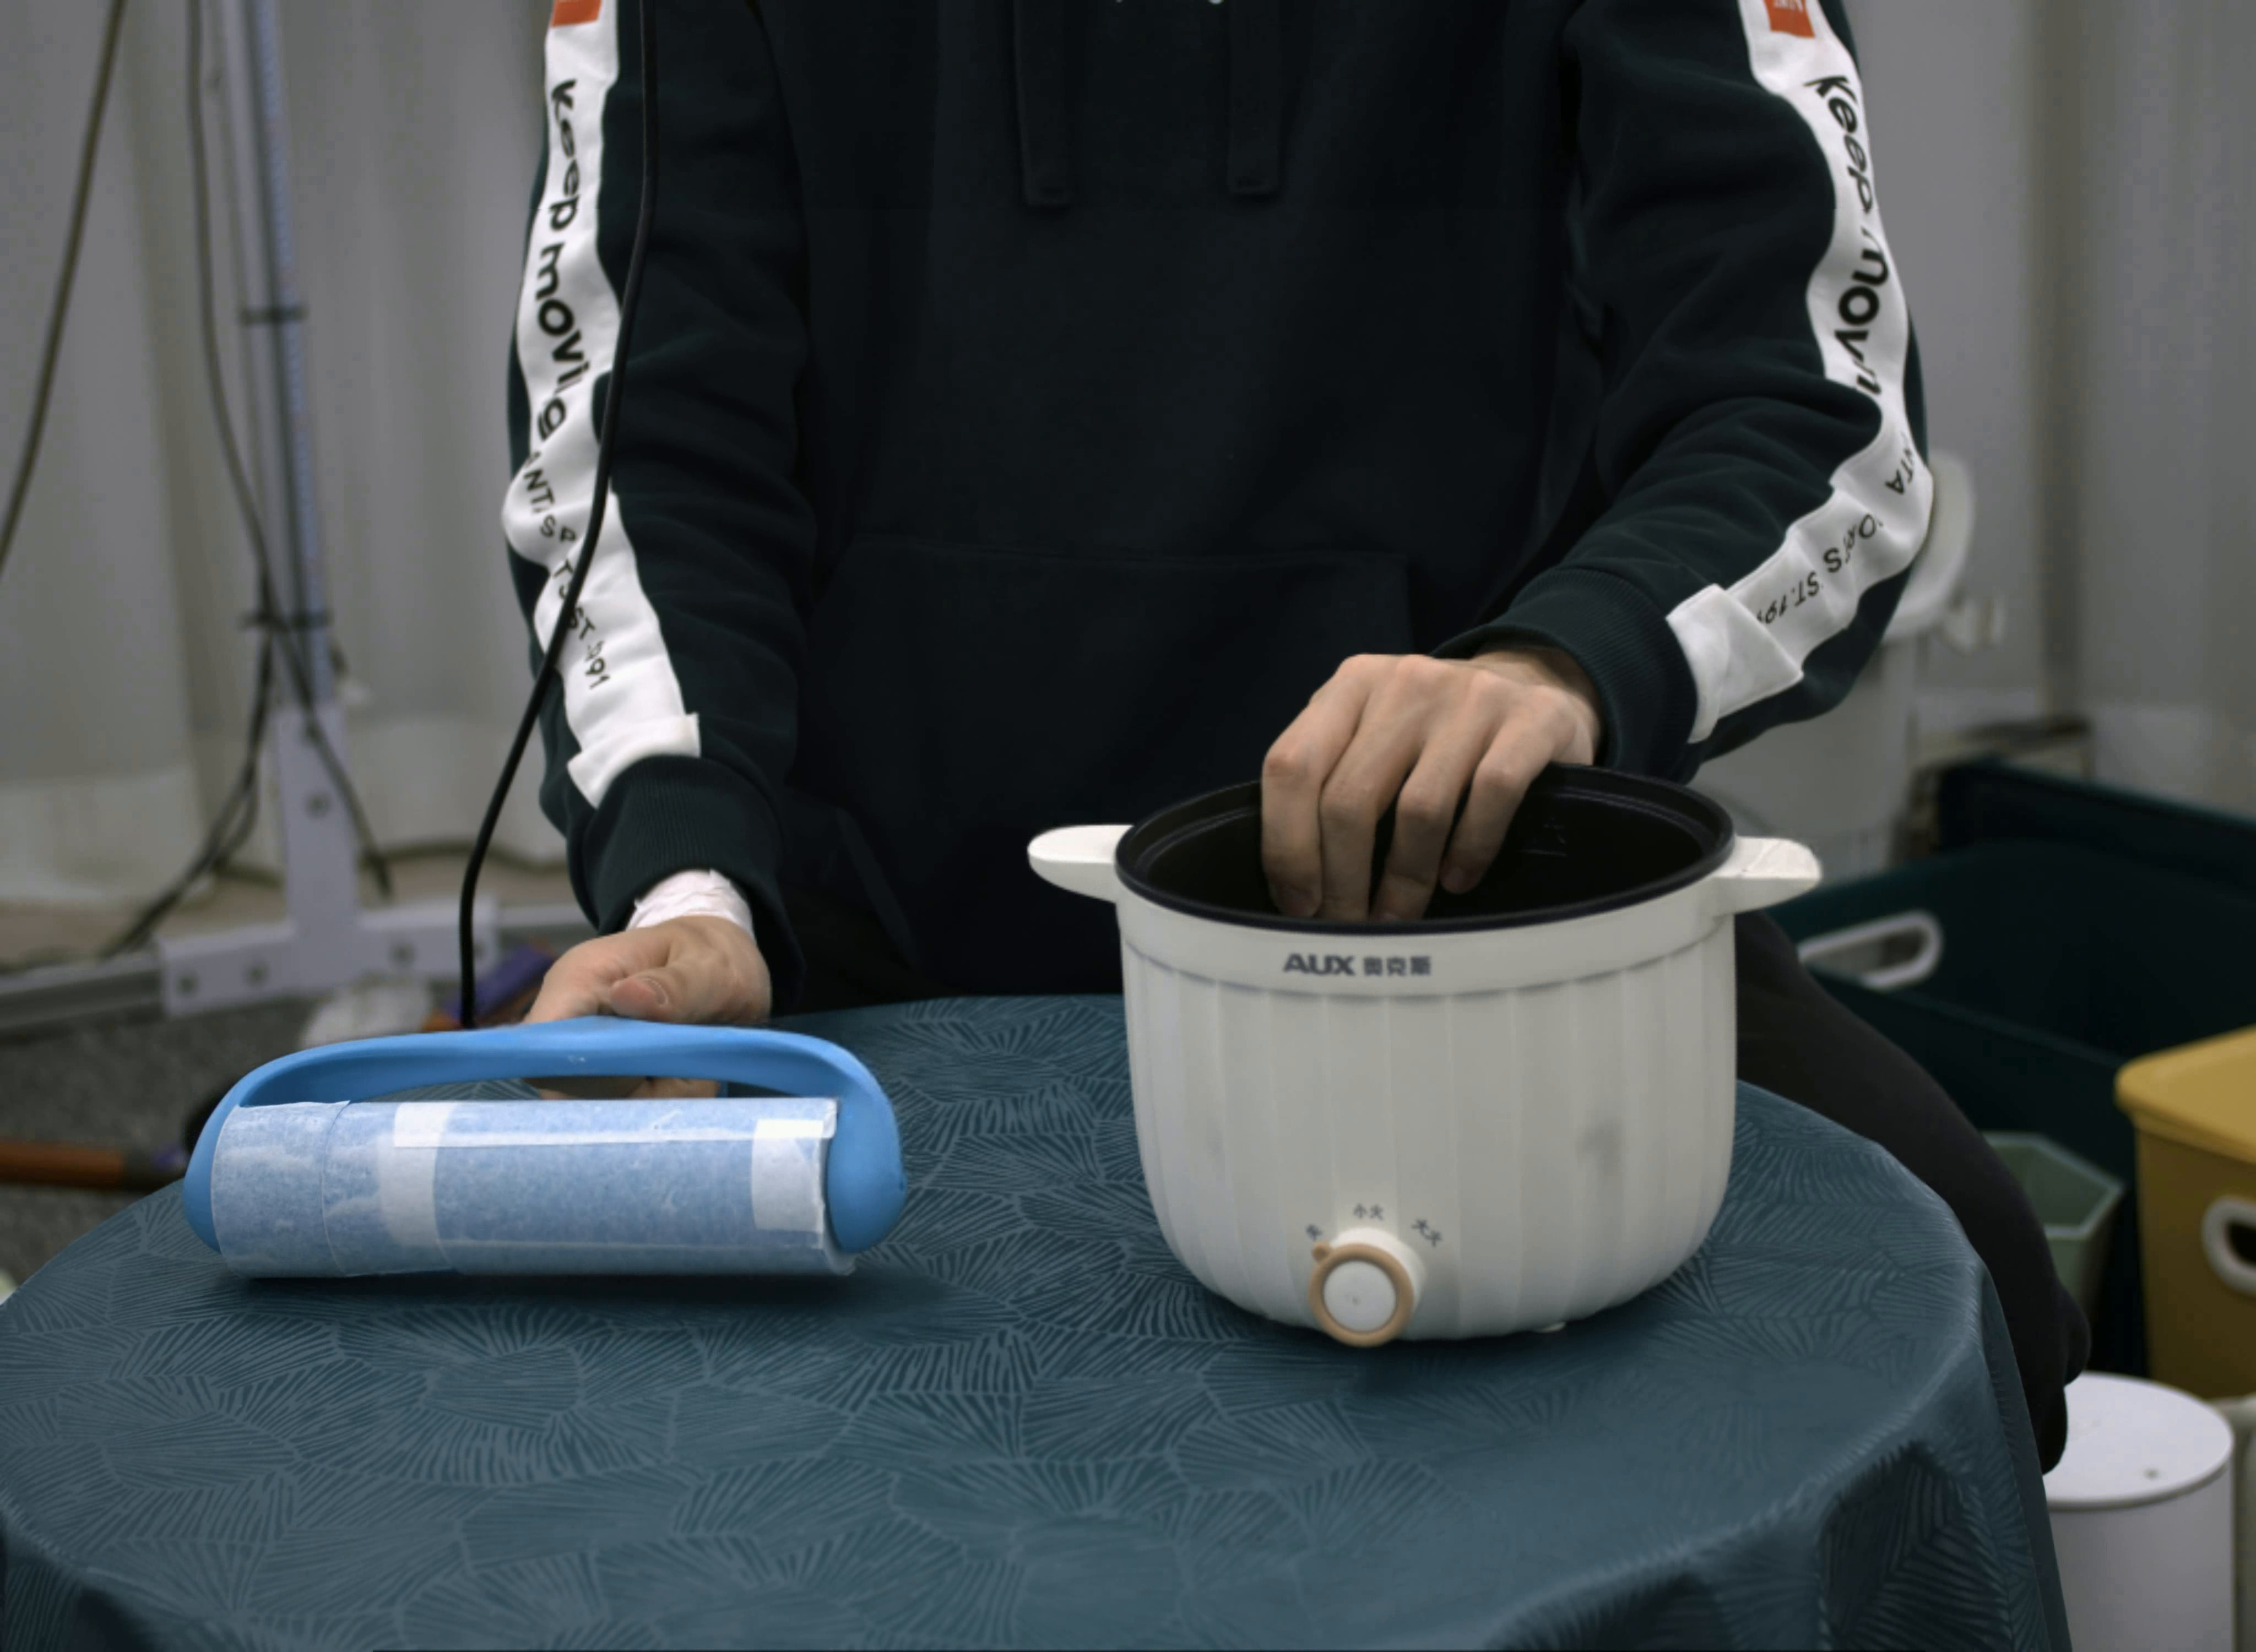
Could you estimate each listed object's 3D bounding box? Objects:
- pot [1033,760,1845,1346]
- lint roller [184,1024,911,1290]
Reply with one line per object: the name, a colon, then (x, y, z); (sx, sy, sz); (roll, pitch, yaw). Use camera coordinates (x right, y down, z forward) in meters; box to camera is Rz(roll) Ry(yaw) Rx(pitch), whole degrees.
pot: (0.091, 0.069, 1.601); (0.240, 0.142, 0.191); (0, 12, 15)
lint roller: (-0.166, 0.092, 1.705); (0.228, 0.067, 0.181); (-4, 16, 12)
